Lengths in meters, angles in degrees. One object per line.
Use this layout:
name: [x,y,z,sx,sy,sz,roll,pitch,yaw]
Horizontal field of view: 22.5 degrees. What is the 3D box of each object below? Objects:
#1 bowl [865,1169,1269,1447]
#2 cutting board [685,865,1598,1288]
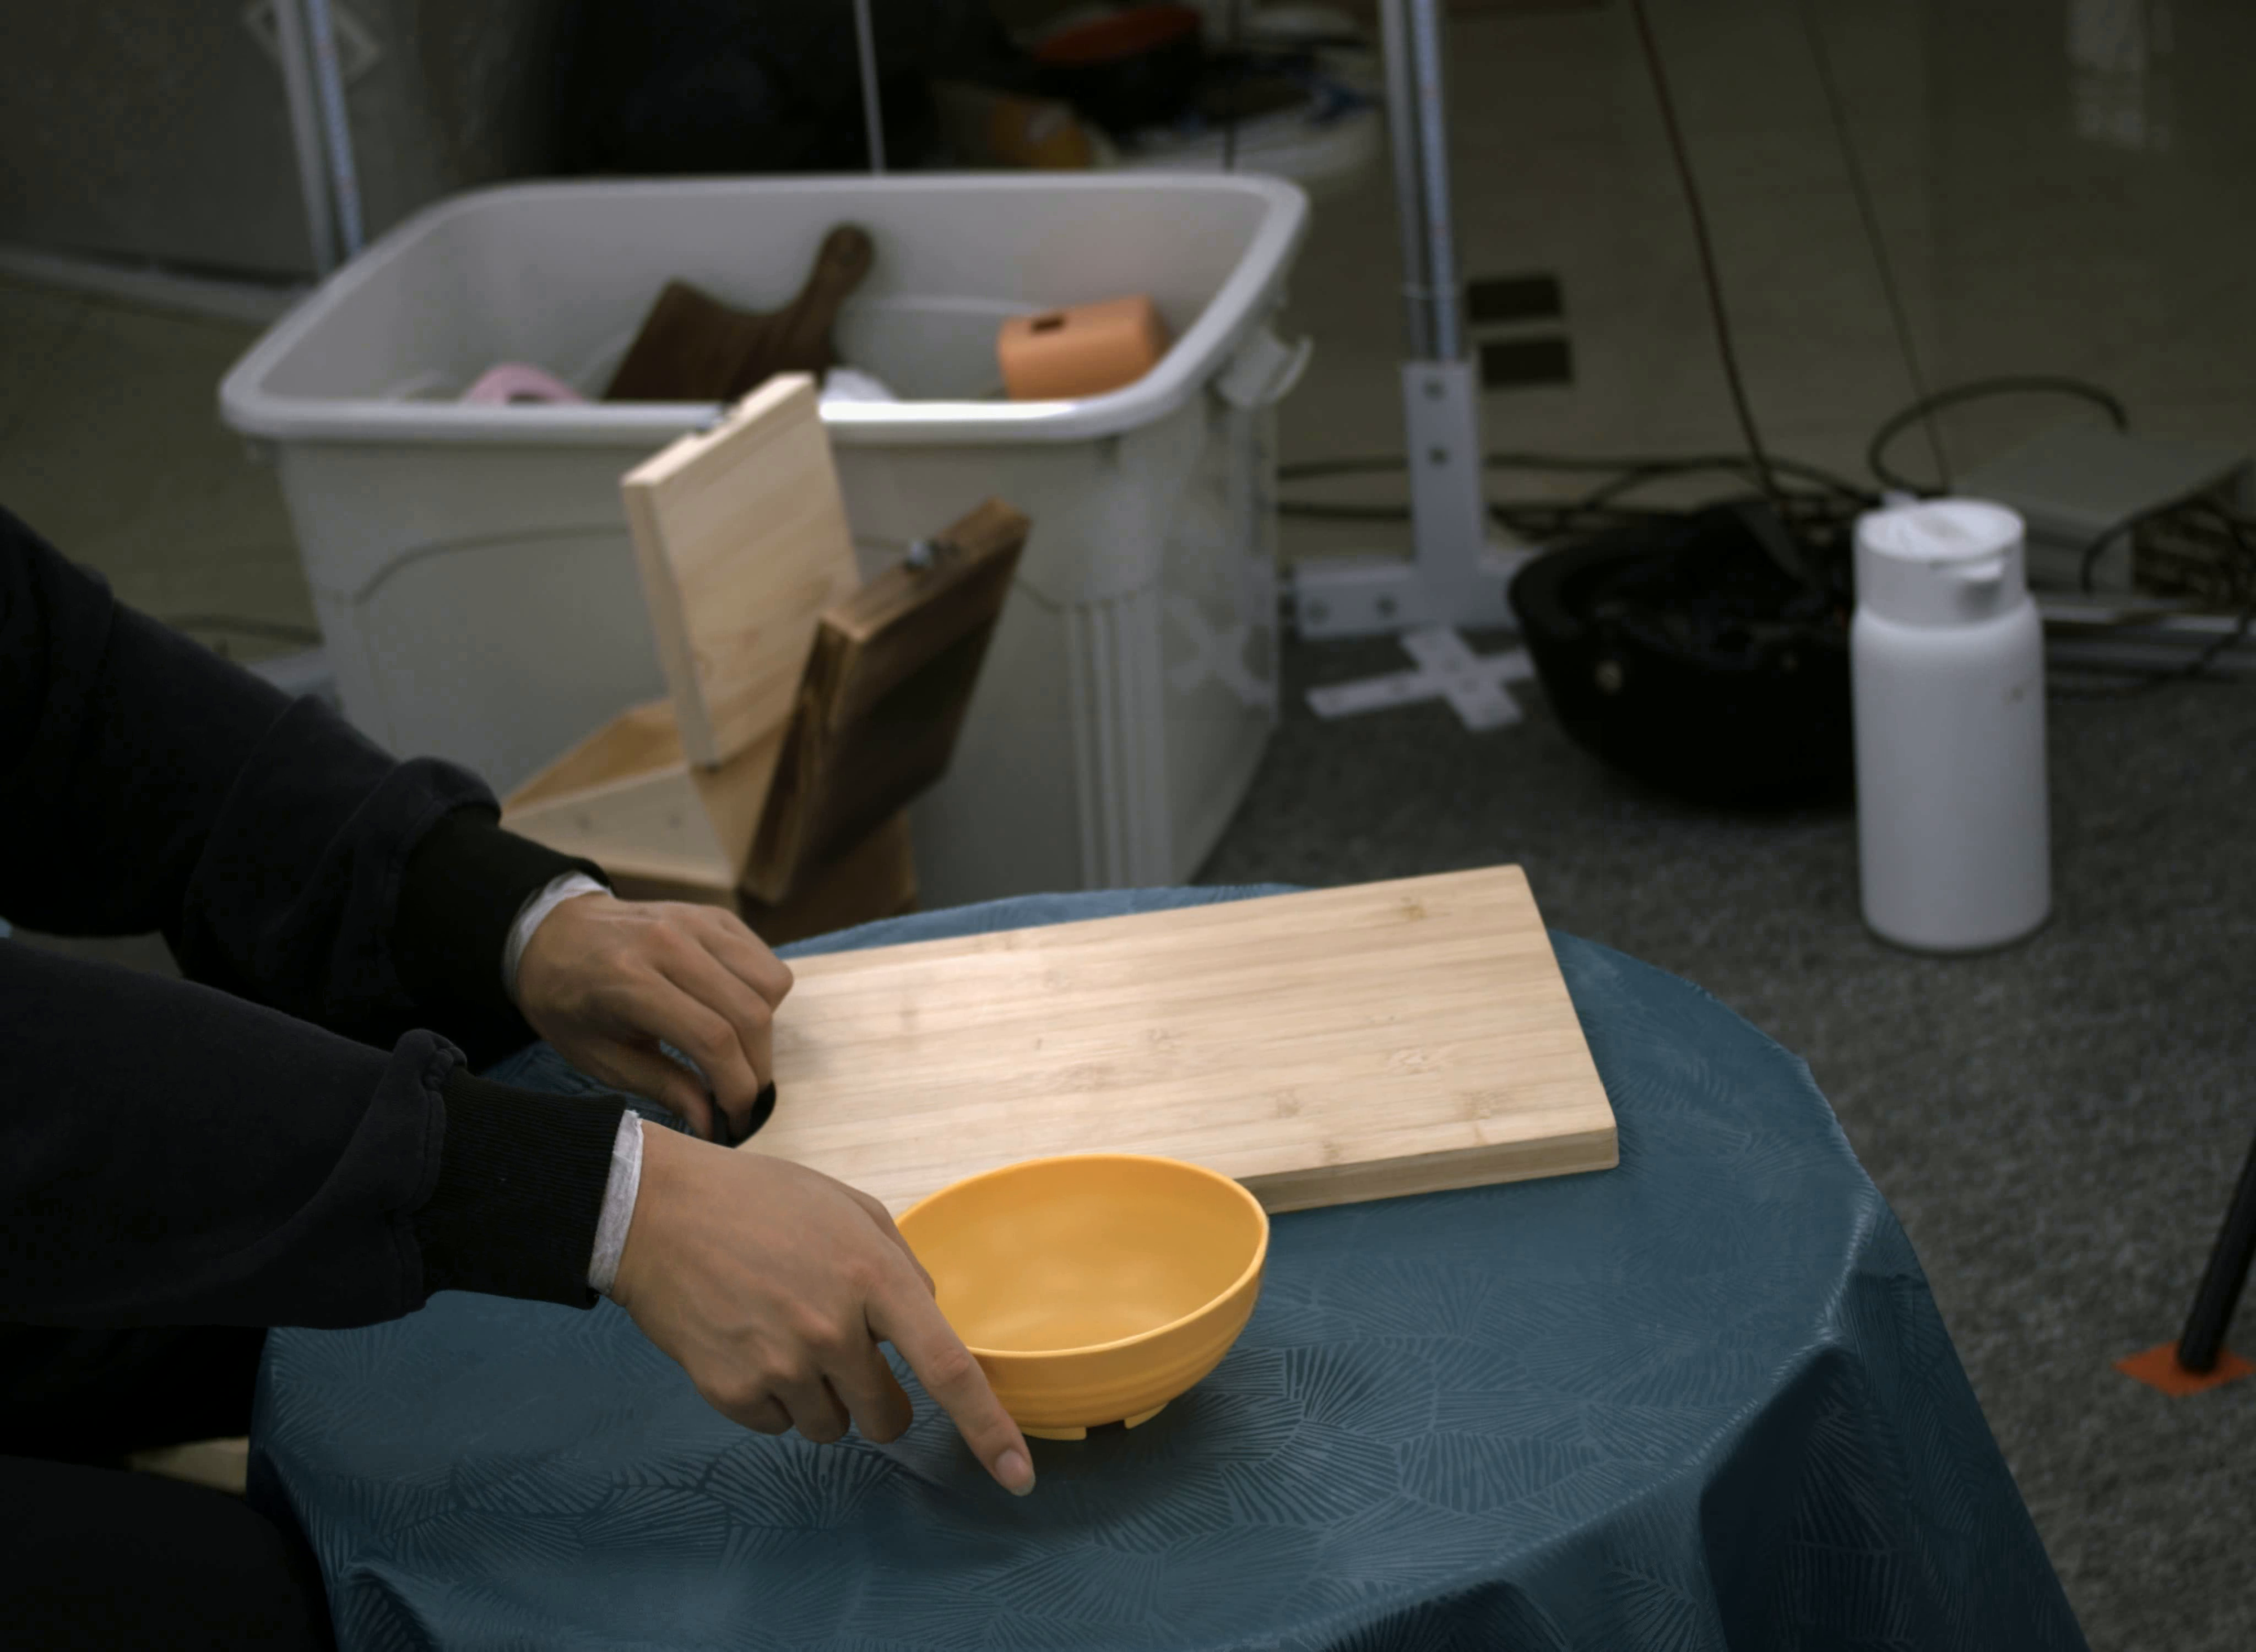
bowl: [-0.018,0.178,2.007,0.145,0.061,0.143,-7,23,3]
cutting board: [0.000,0.095,2.228,0.348,0.024,0.247,-8,25,-3]
